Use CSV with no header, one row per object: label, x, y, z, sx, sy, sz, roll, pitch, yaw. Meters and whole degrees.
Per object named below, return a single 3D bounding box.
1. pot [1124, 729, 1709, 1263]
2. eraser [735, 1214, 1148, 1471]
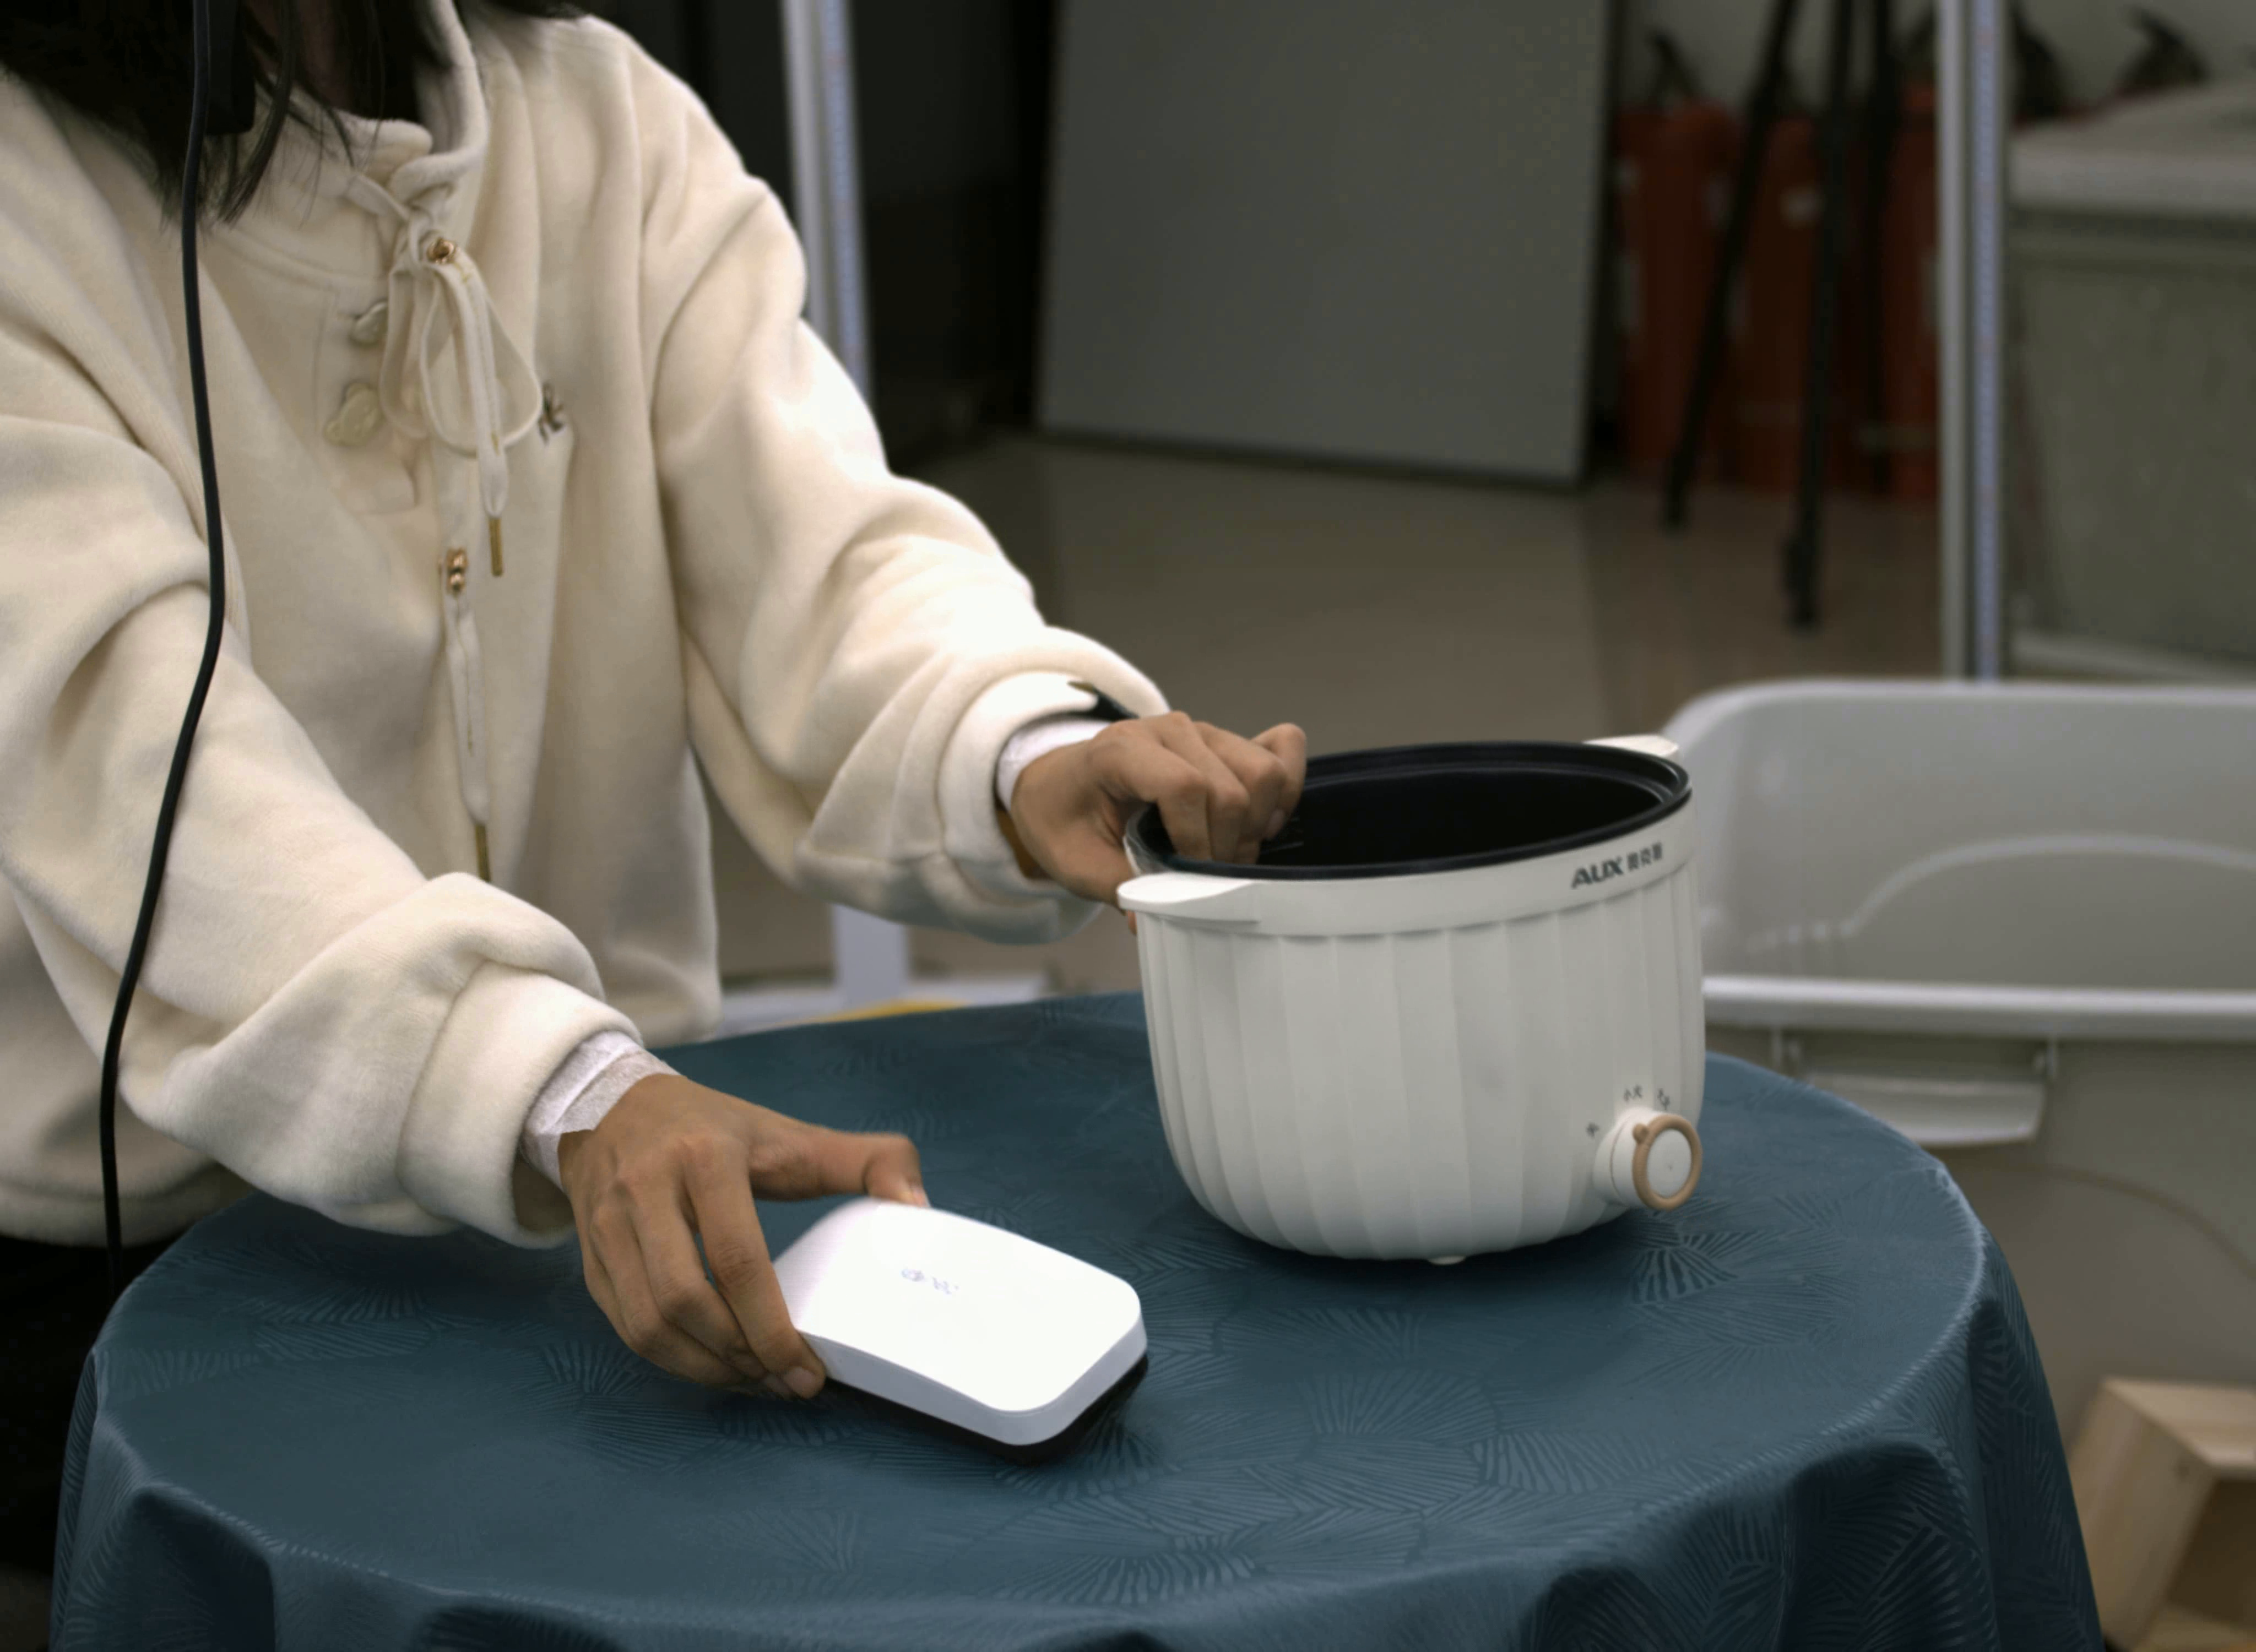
pot,0.099,0.055,1.704,0.235,0.144,0.192,-18,13,-41
eraser,-0.053,0.148,1.575,0.132,0.035,0.062,13,38,43
